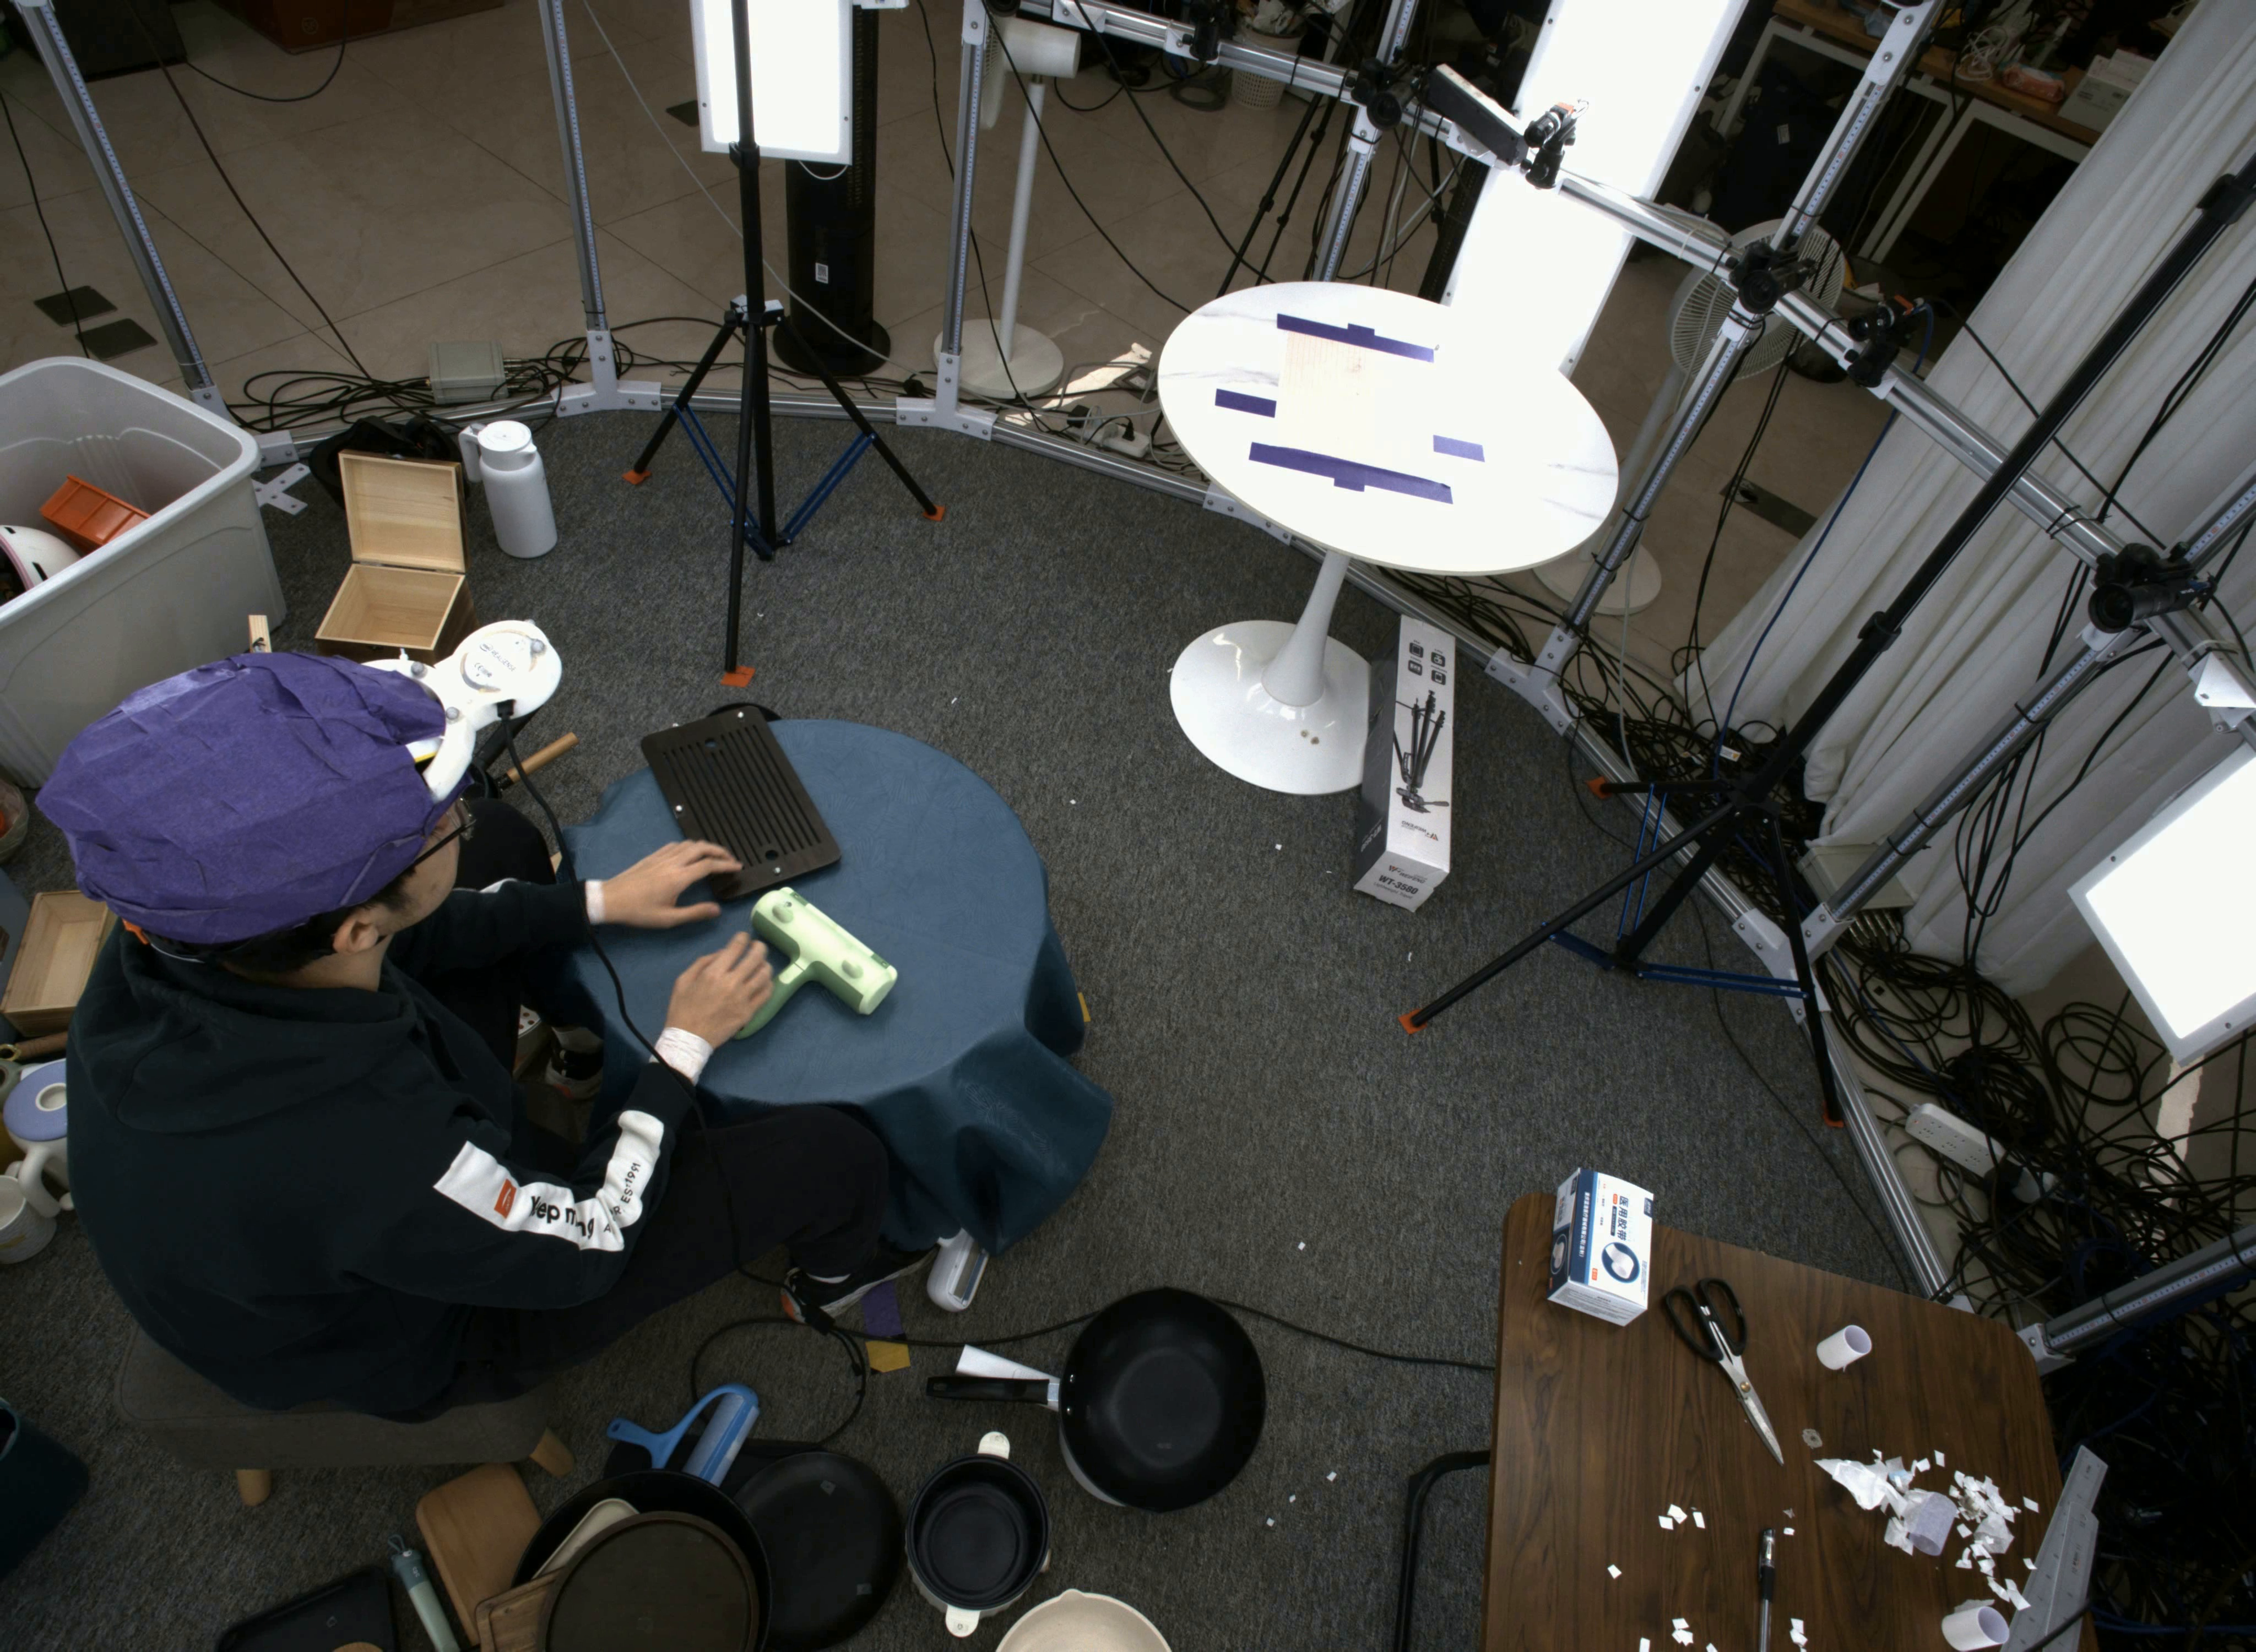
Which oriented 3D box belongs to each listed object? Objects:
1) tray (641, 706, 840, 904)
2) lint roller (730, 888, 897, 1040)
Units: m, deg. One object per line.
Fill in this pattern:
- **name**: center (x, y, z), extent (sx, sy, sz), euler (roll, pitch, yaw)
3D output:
- **tray**: center (-0.521, -0.034, 1.723), extent (0.171, 0.019, 0.298), euler (-21, 60, -28)
- **lint roller**: center (-0.407, 0.176, 1.552), extent (0.195, 0.084, 0.183), euler (36, 50, 13)
